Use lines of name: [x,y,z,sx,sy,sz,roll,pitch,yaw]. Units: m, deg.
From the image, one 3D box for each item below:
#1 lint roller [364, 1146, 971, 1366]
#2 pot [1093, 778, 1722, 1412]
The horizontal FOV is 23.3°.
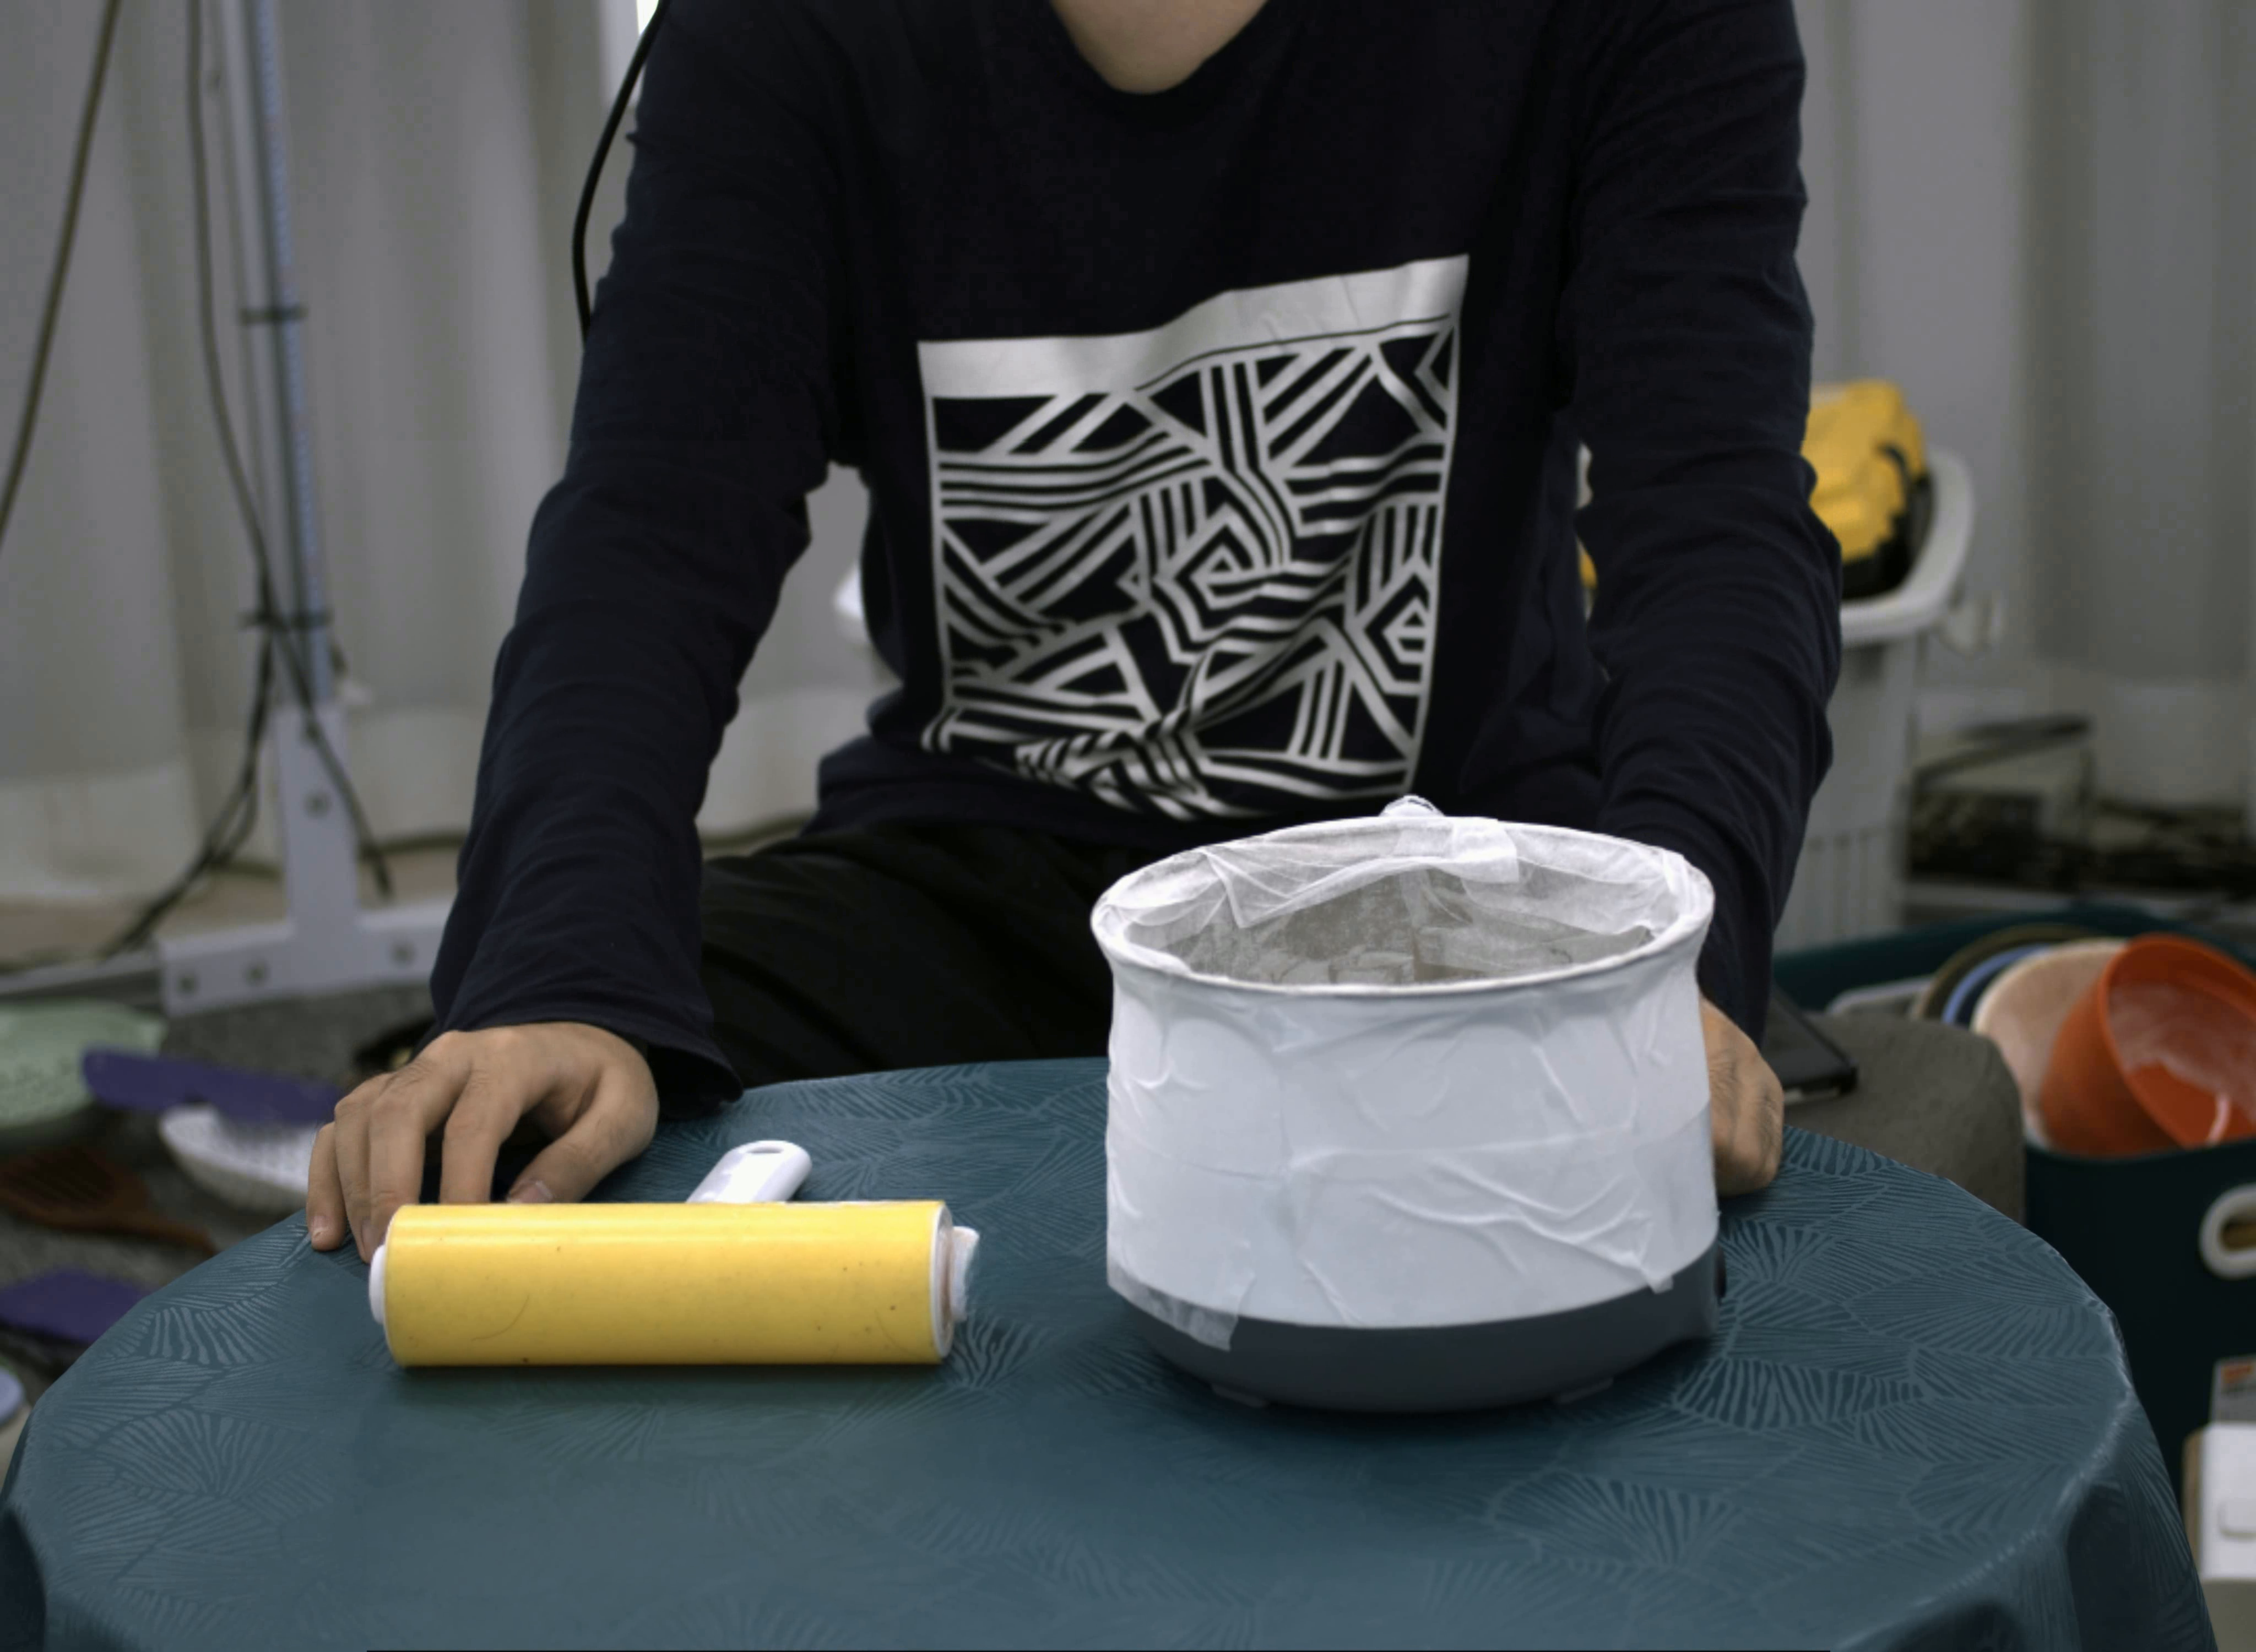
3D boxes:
lint roller: [-0.128,0.114,1.650,0.174,0.051,0.193,-1,16,5]
pot: [0.081,0.072,1.586,0.178,0.136,0.235,0,16,3]
